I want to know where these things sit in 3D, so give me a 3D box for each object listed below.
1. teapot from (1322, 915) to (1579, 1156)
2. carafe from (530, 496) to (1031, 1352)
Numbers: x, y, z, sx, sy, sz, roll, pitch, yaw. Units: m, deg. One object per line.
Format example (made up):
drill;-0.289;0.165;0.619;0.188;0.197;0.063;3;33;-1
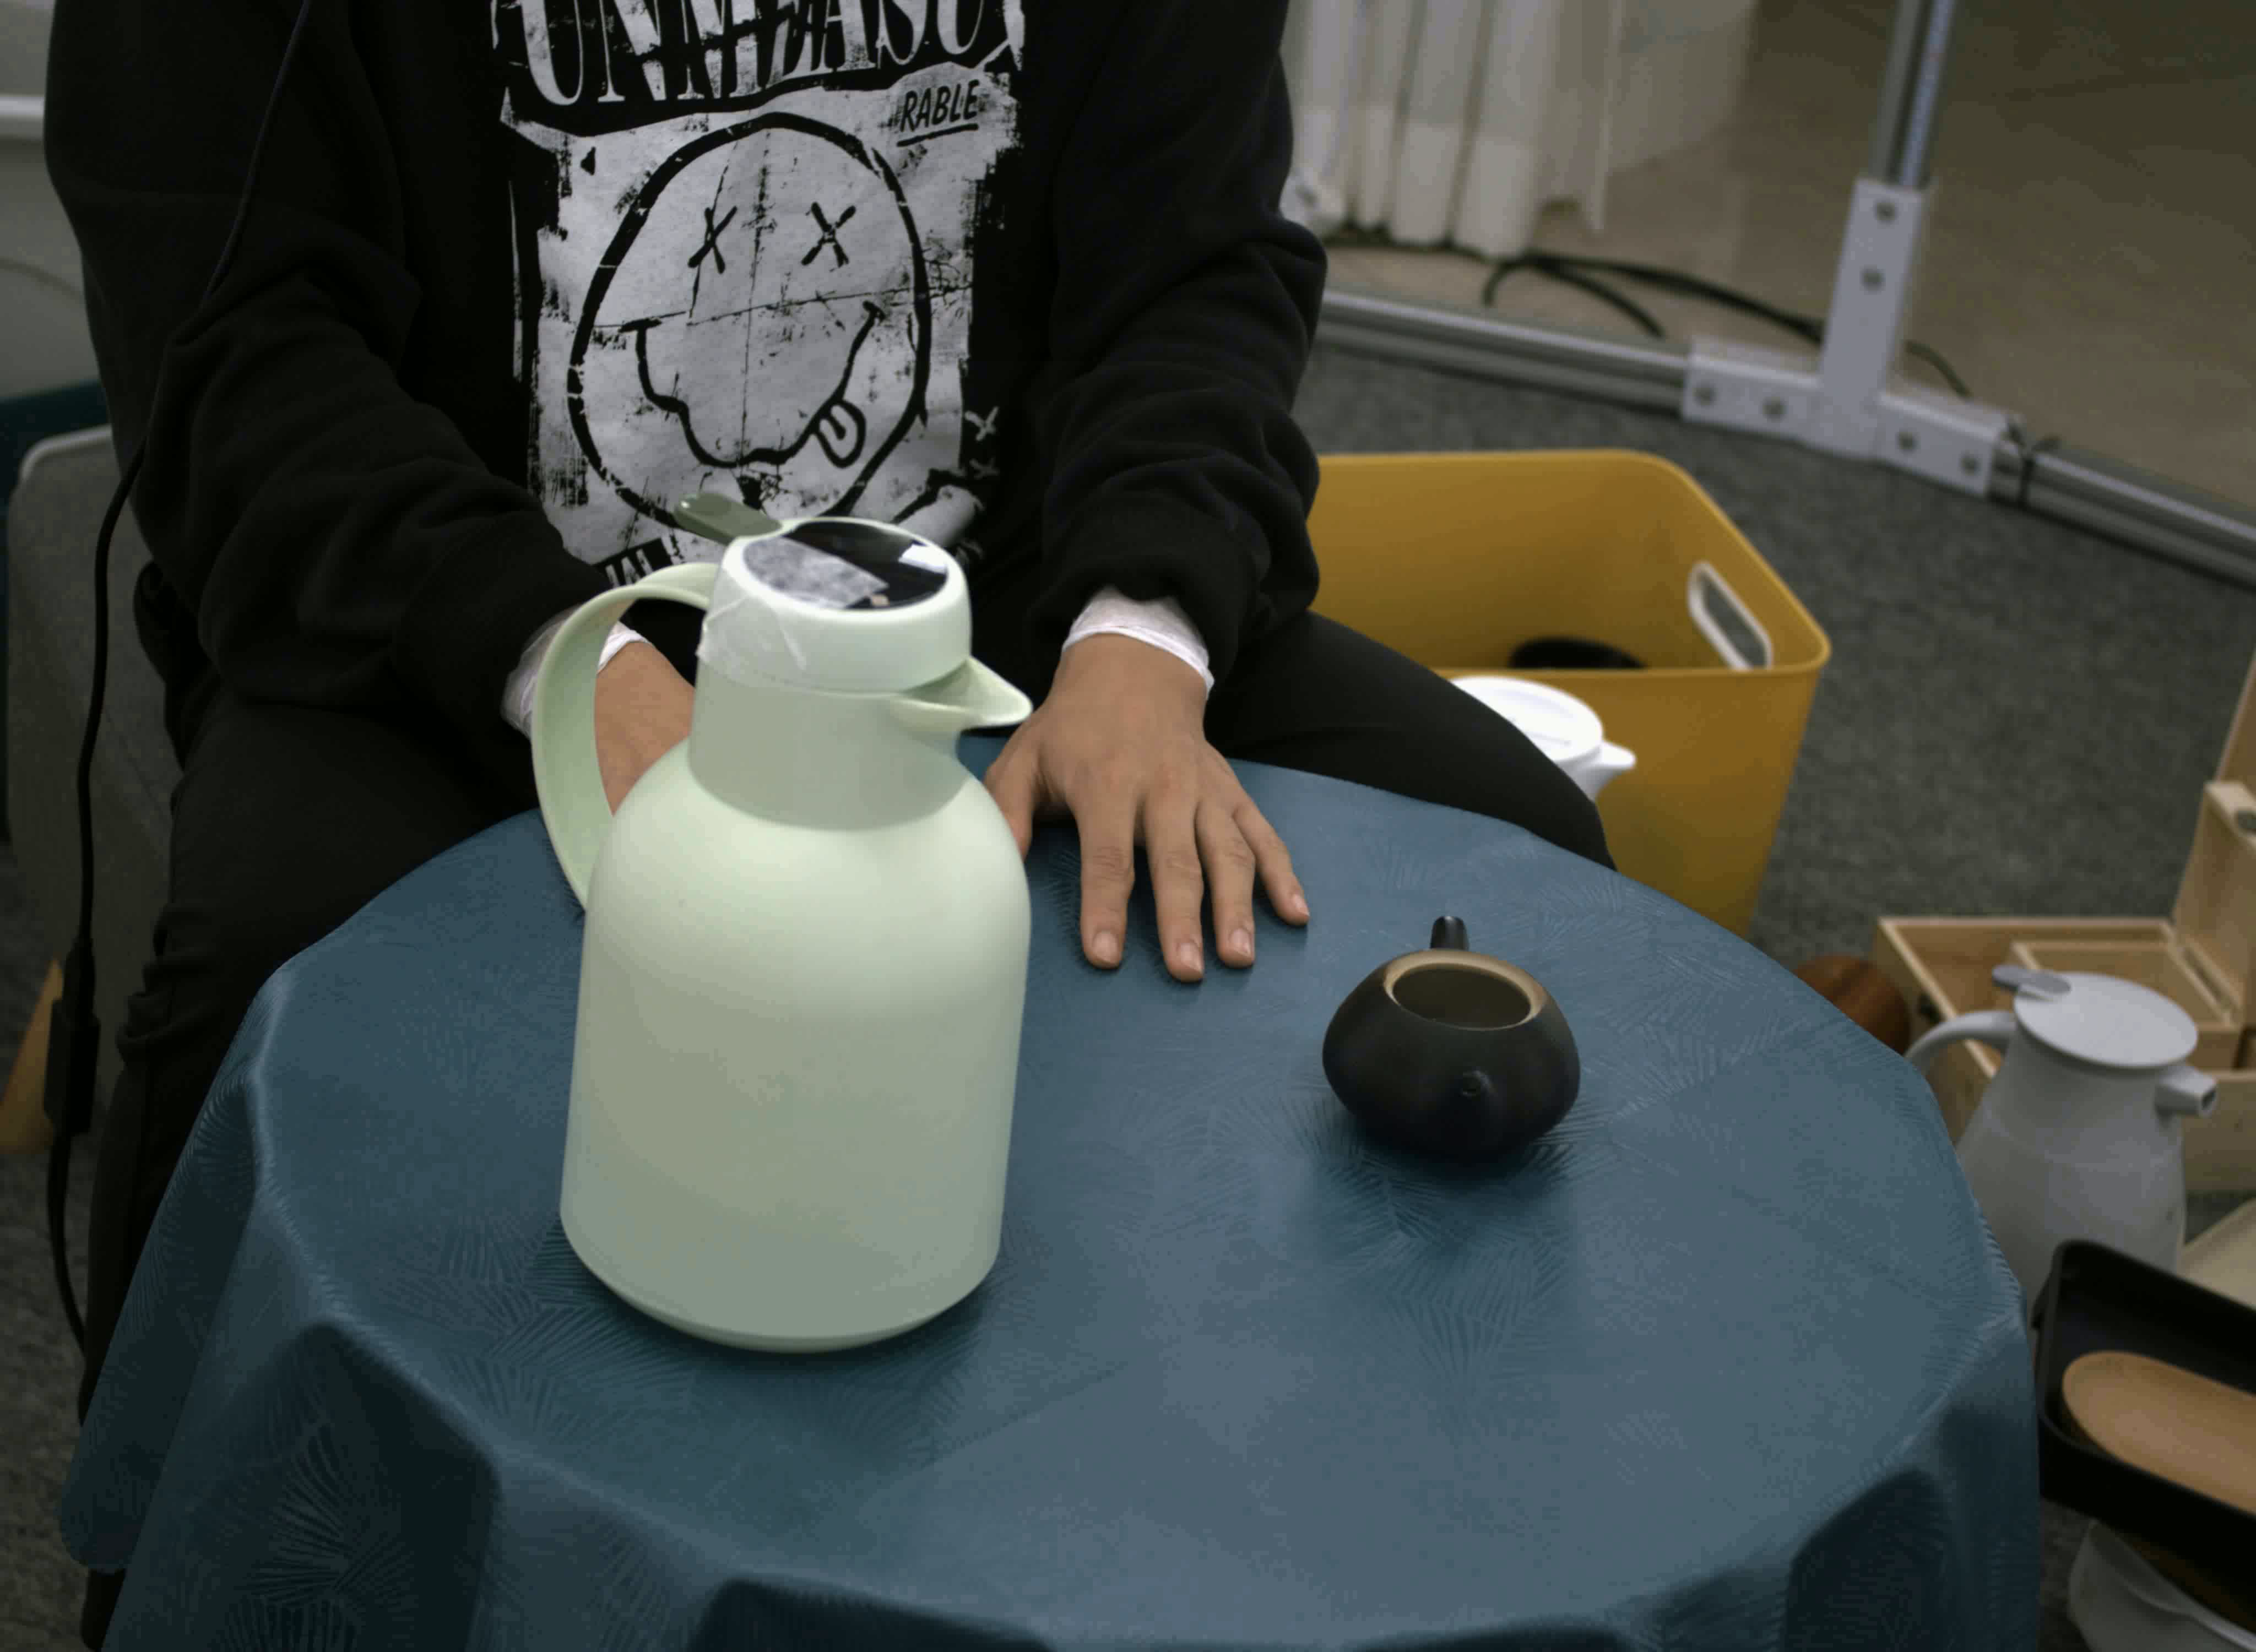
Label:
teapot;0.113;0.079;1.859;0.090;0.053;0.134;7;27;-3
carafe;-0.113;0.025;1.699;0.188;0.256;0.144;20;30;31
